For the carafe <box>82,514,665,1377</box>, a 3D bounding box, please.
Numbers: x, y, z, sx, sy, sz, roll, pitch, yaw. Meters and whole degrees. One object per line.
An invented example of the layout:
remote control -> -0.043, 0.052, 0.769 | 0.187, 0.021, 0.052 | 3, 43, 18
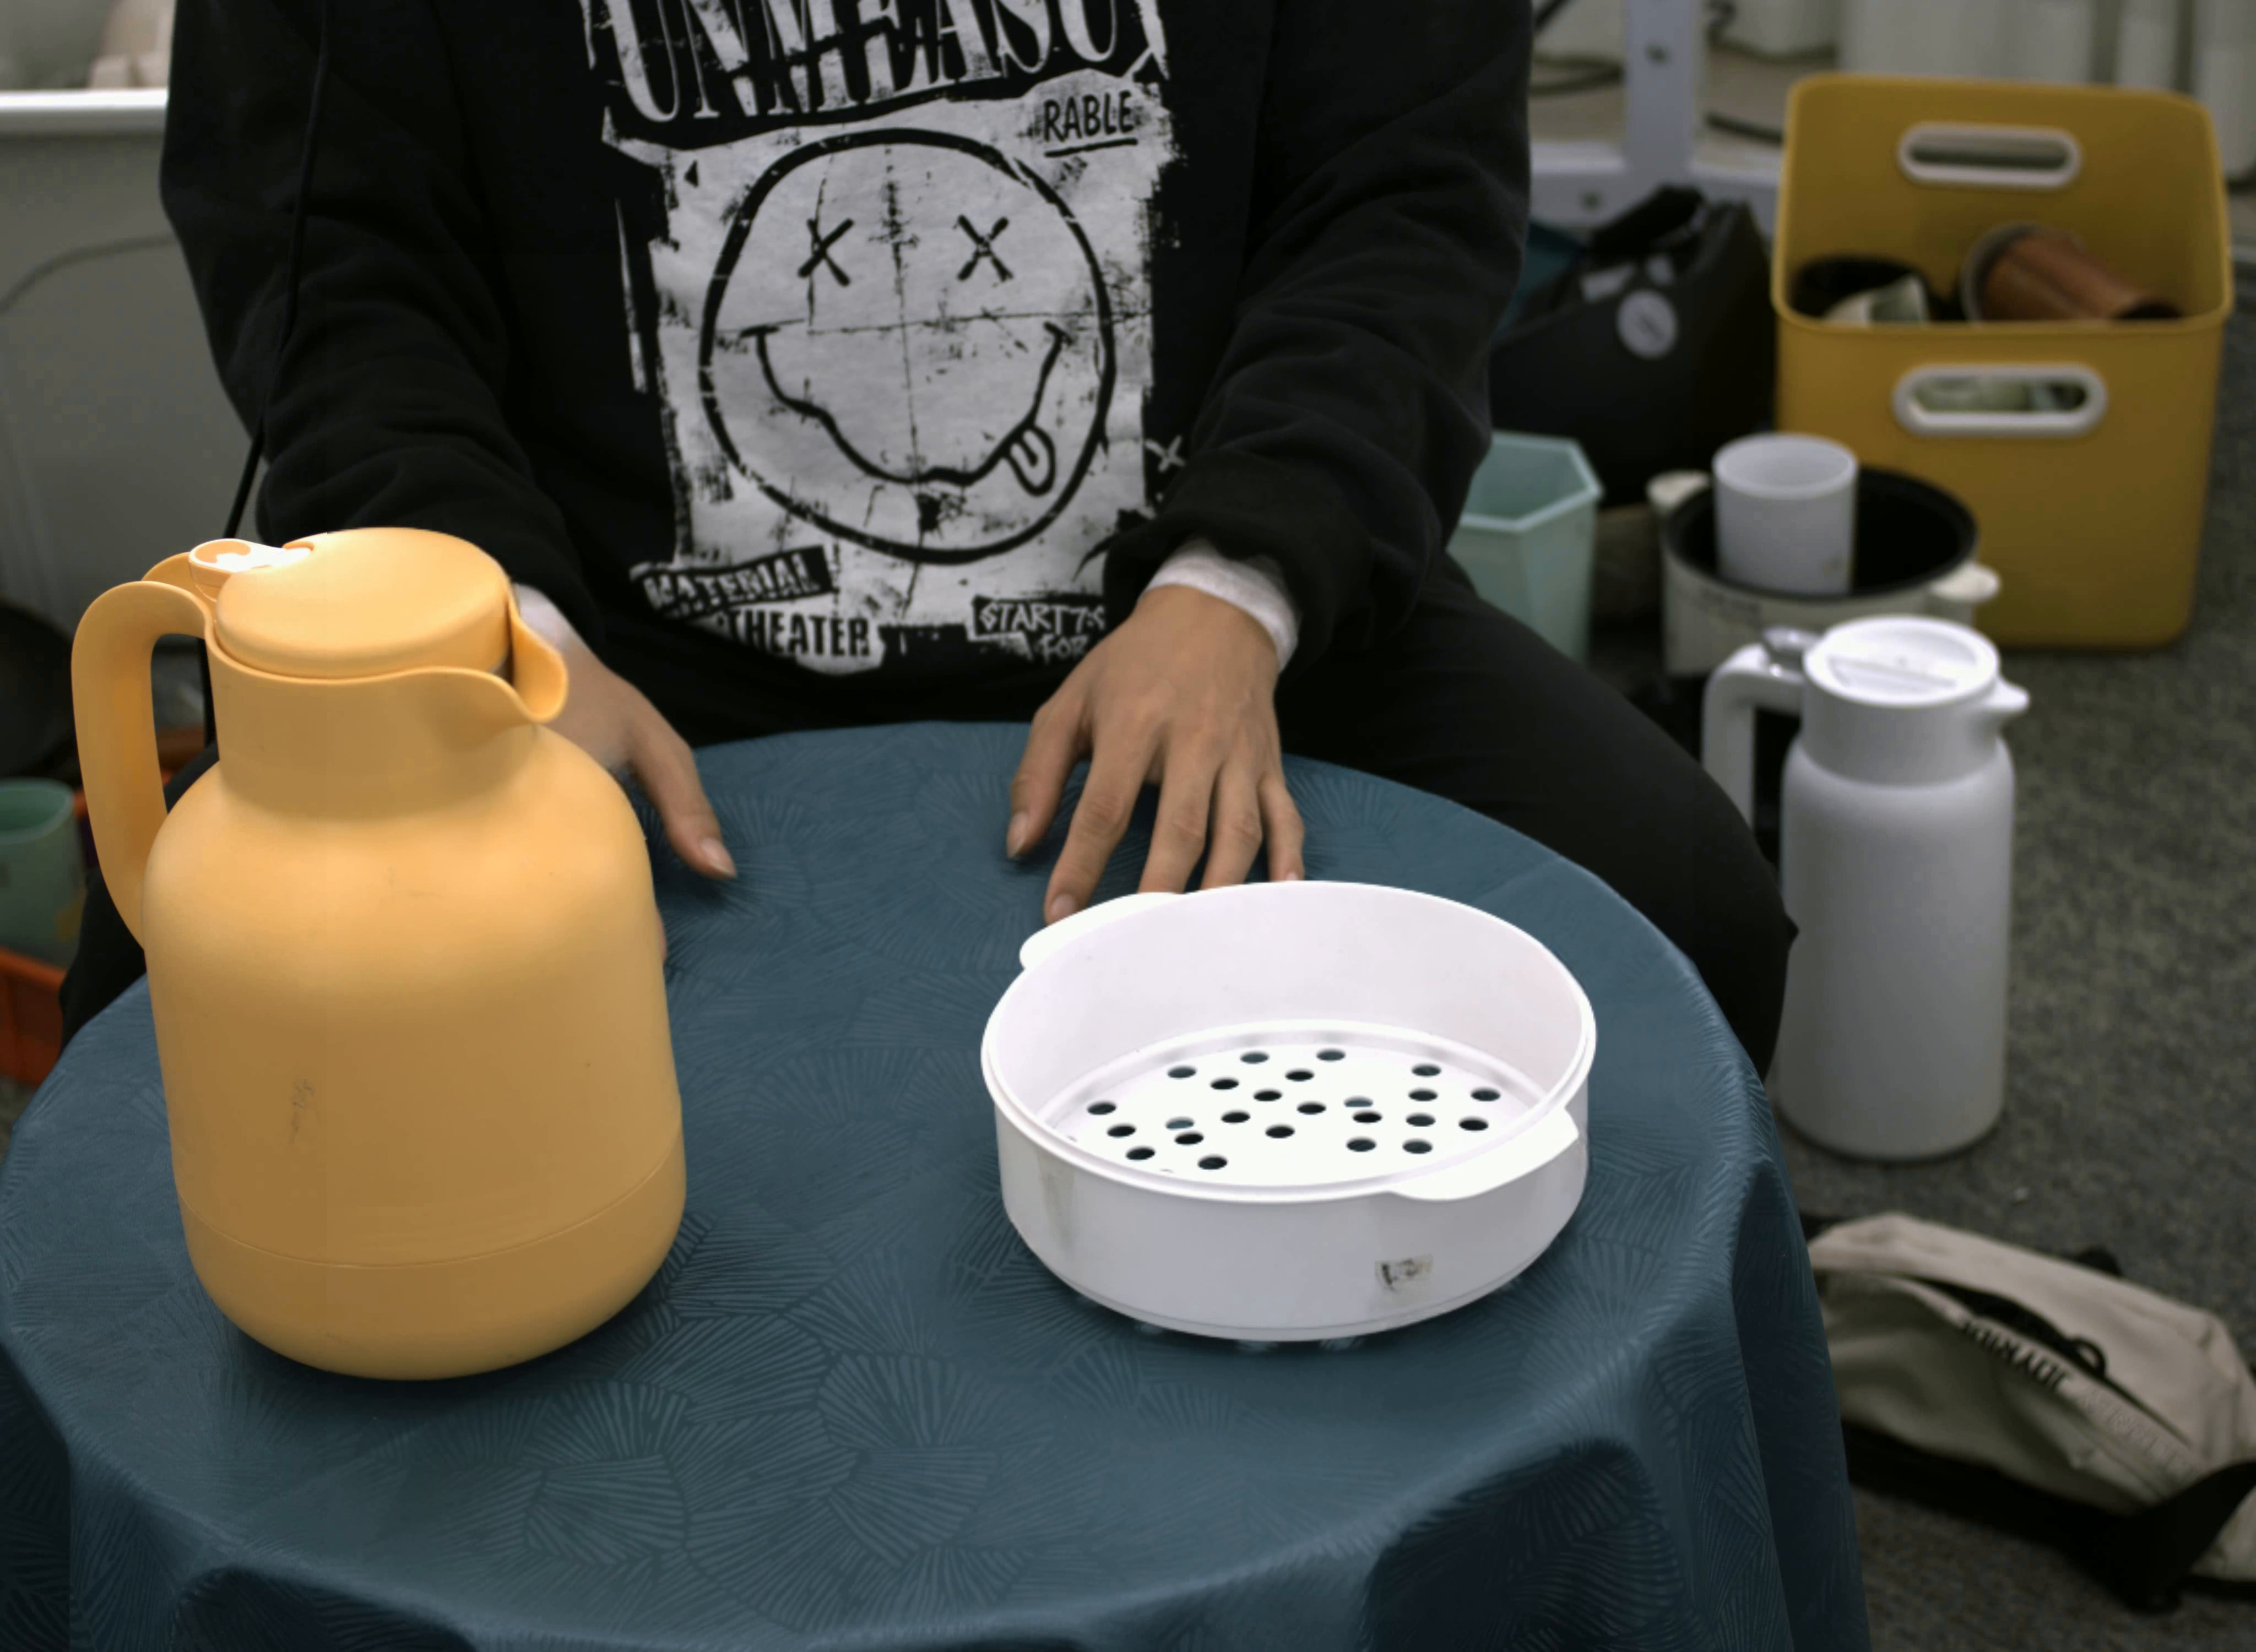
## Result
carafe -> -0.245, 0.028, 1.781 | 0.201, 0.258, 0.165 | 18, 30, 33

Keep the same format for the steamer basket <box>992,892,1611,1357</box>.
steamer basket -> 0.057, 0.098, 1.832 | 0.204, 0.068, 0.231 | -23, 34, -32
